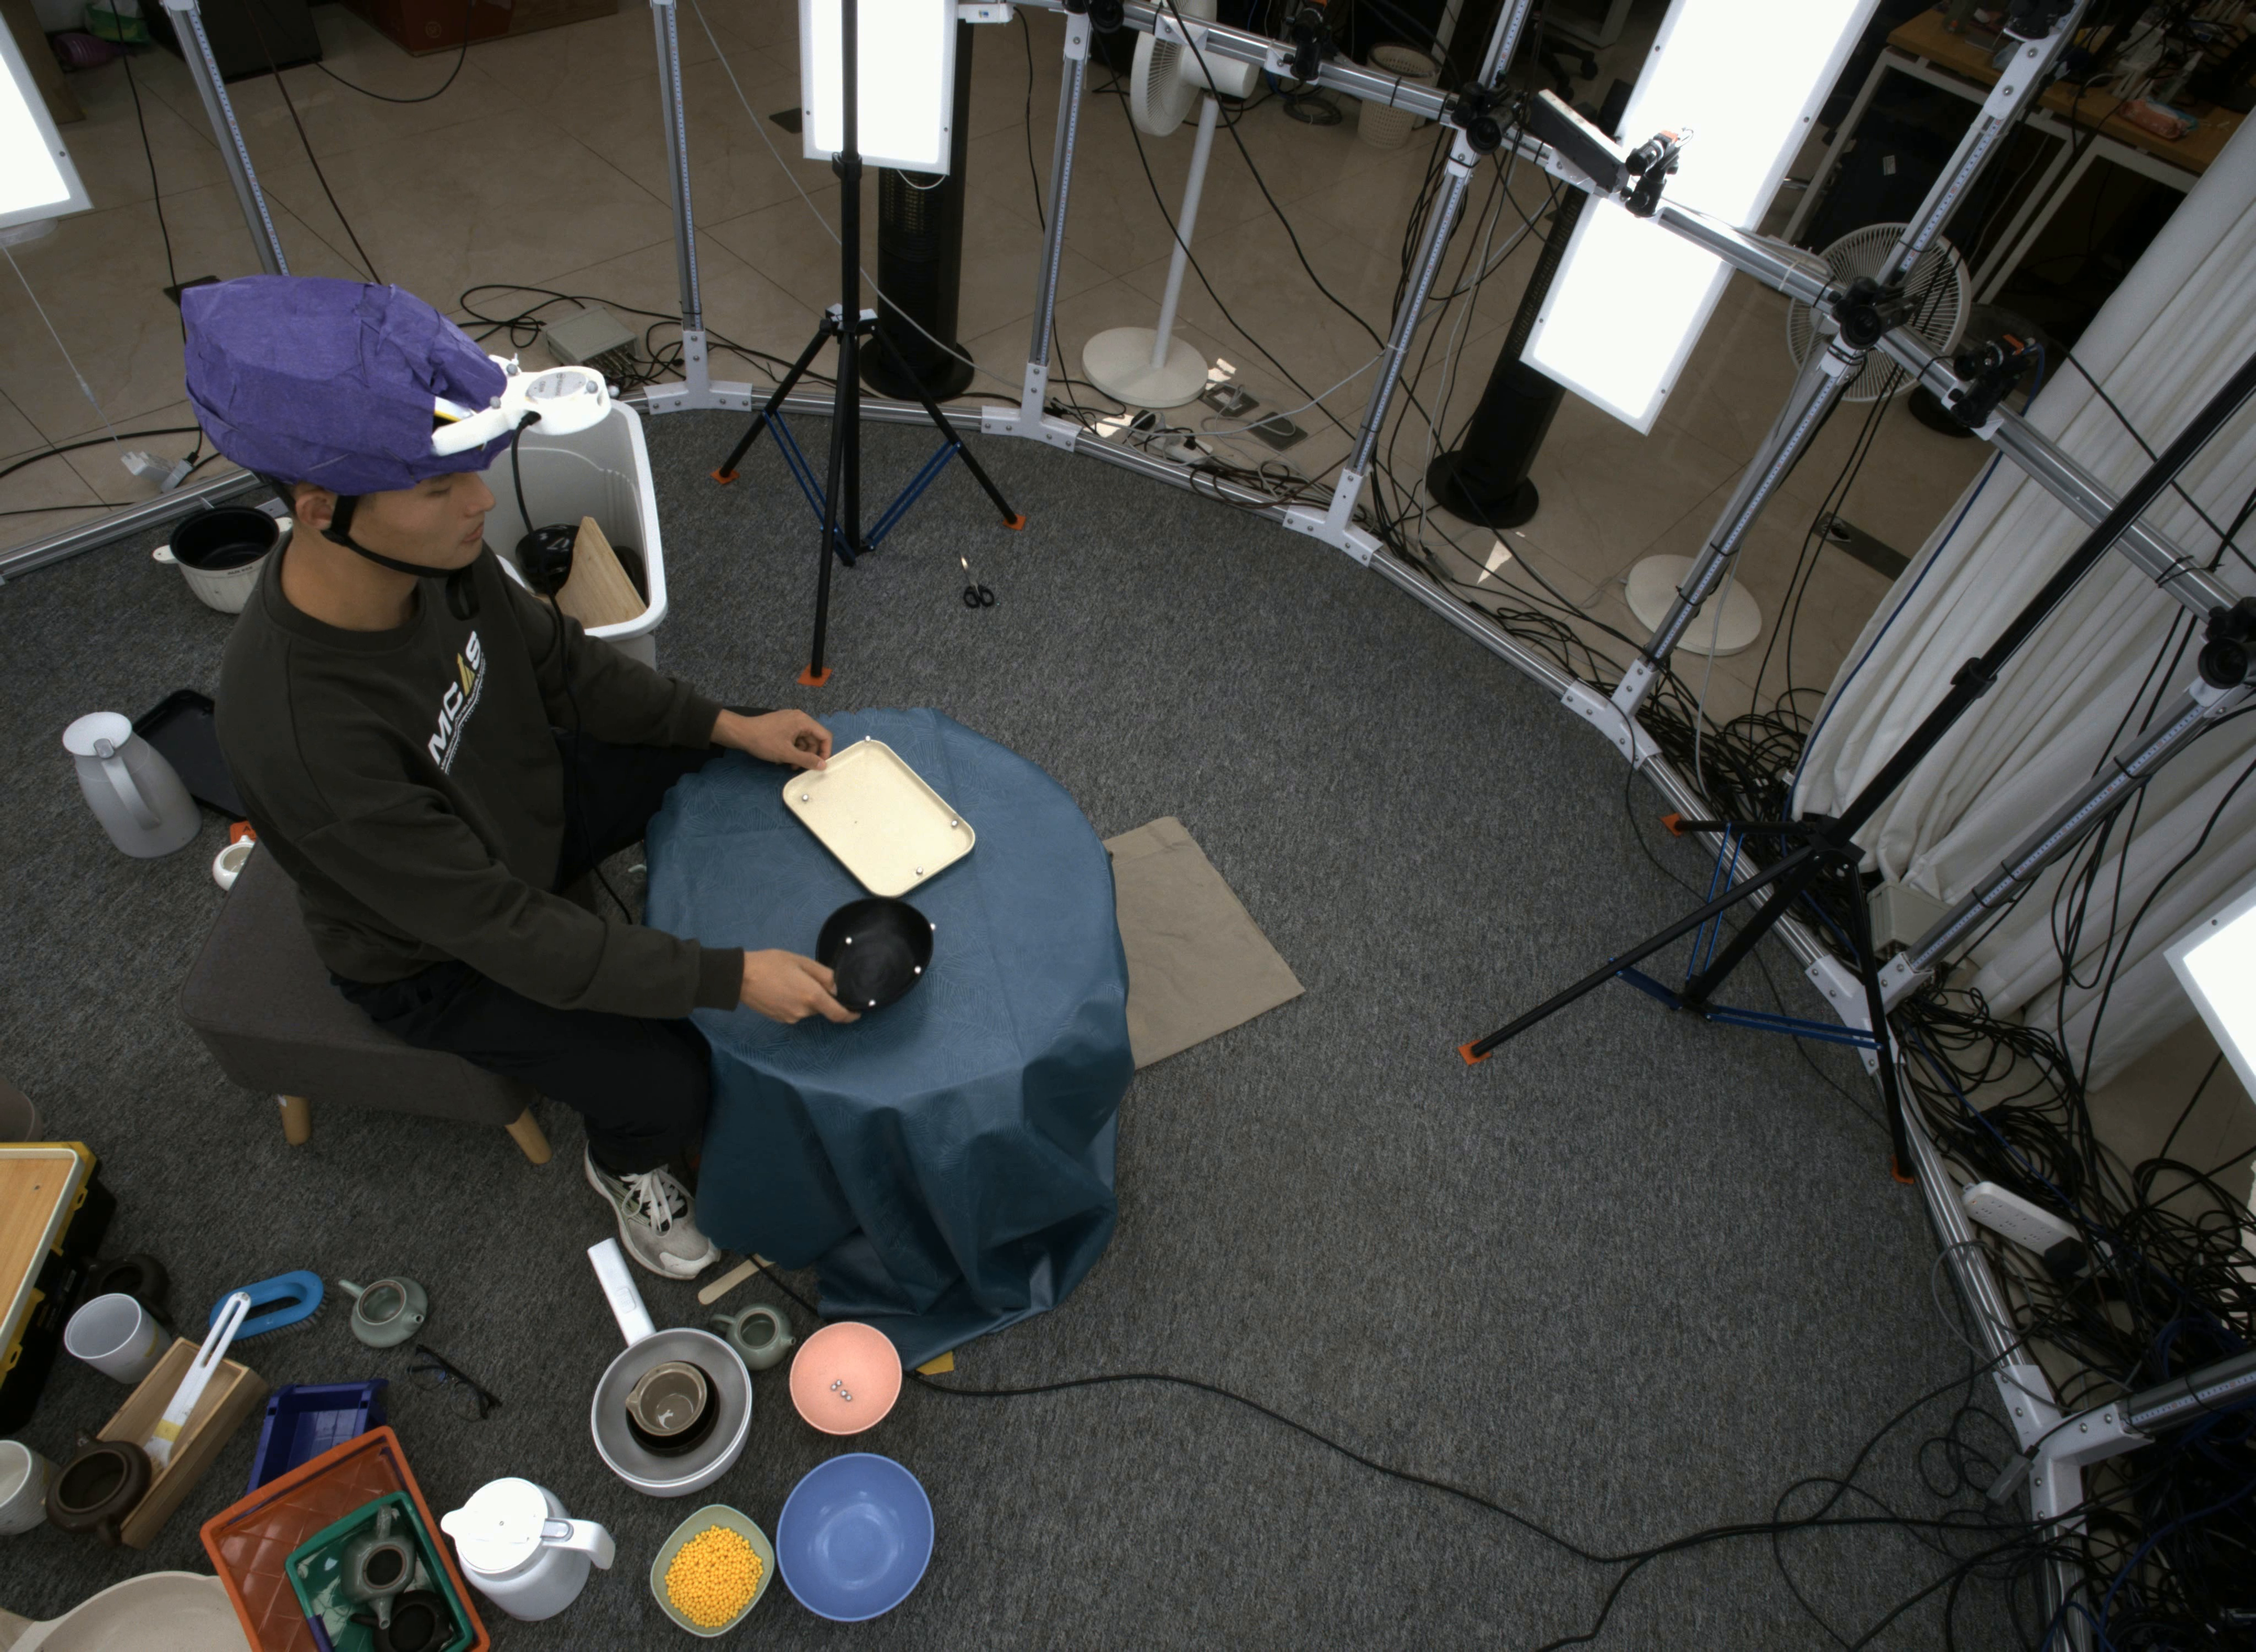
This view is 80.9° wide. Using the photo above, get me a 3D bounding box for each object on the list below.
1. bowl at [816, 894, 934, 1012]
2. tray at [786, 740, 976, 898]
[{"bbox_3d":[-0.309,0.163,1.586,0.136,0.068,0.168,14,47,0],"label":"bowl"},{"bbox_3d":[-0.333,-0.011,1.754,0.234,0.018,0.171,43,57,19],"label":"tray"}]
